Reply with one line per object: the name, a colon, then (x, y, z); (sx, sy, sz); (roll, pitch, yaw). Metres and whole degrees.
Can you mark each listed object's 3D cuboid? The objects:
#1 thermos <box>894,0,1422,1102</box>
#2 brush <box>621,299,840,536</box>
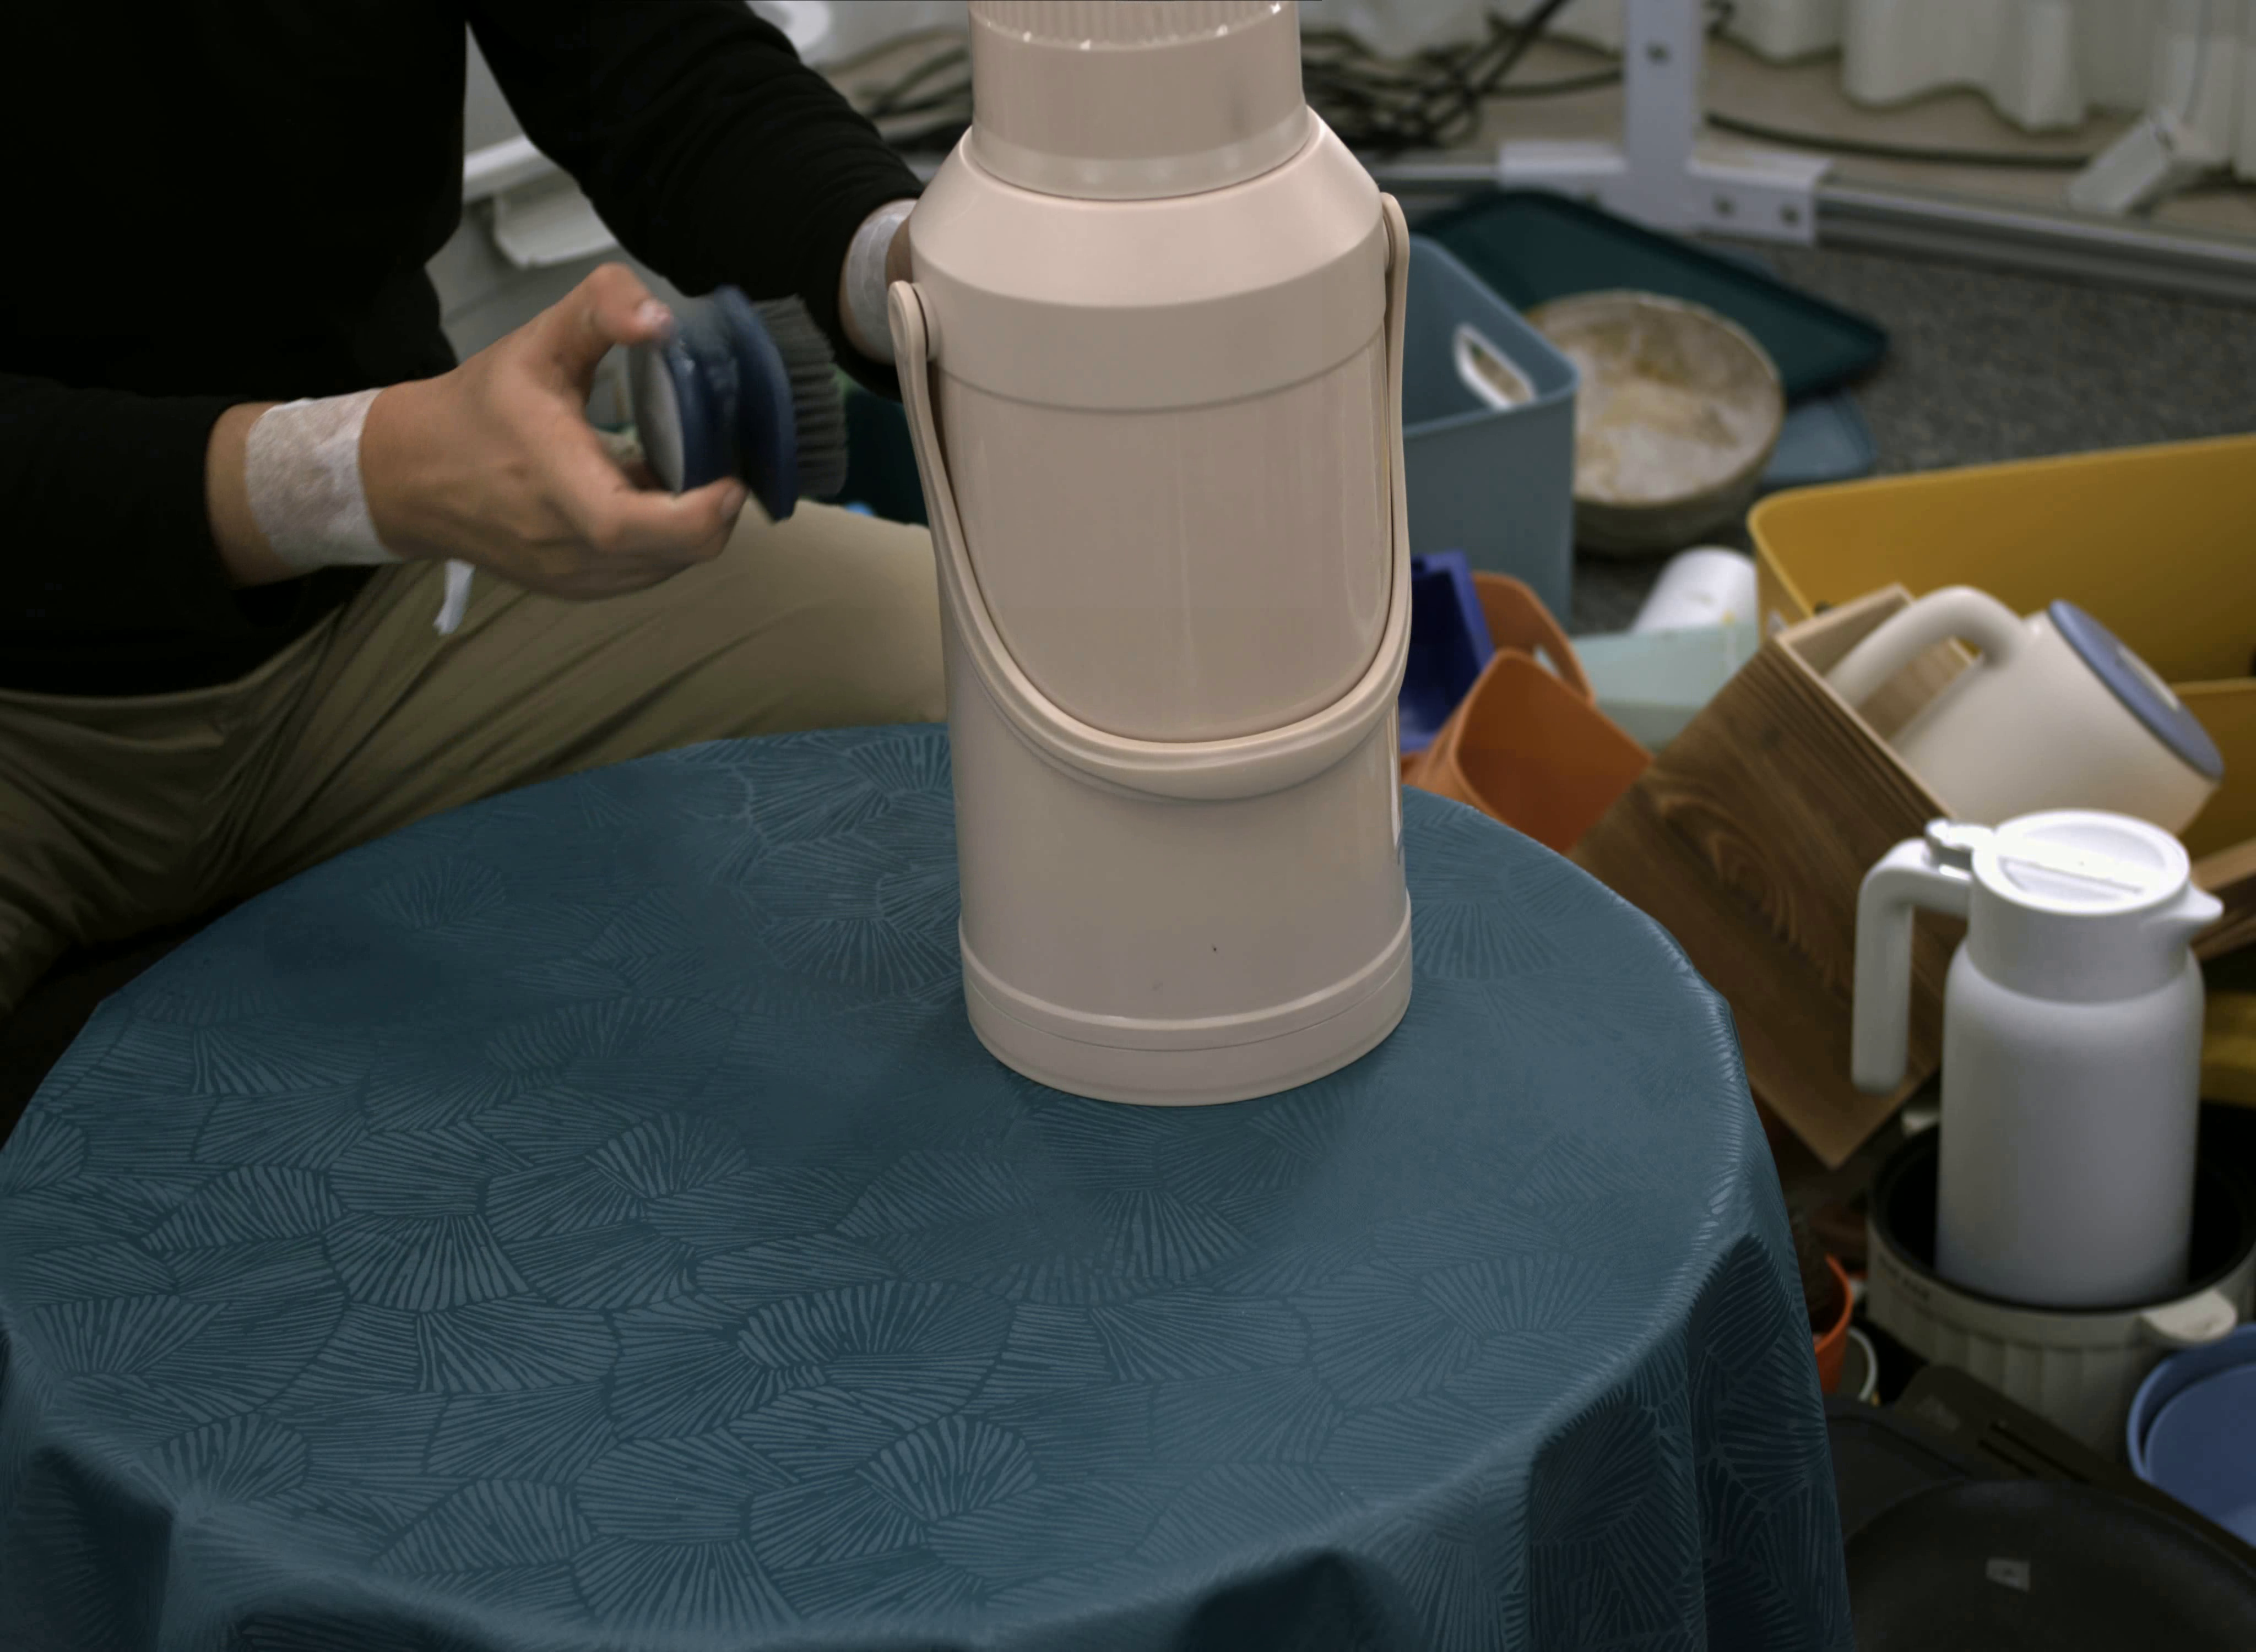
thermos: (0.009, -0.123, 1.907); (0.175, 0.402, 0.209); (-13, 28, -16)
brush: (-0.131, -0.136, 1.878); (0.061, 0.067, 0.122); (-7, 21, -13)
